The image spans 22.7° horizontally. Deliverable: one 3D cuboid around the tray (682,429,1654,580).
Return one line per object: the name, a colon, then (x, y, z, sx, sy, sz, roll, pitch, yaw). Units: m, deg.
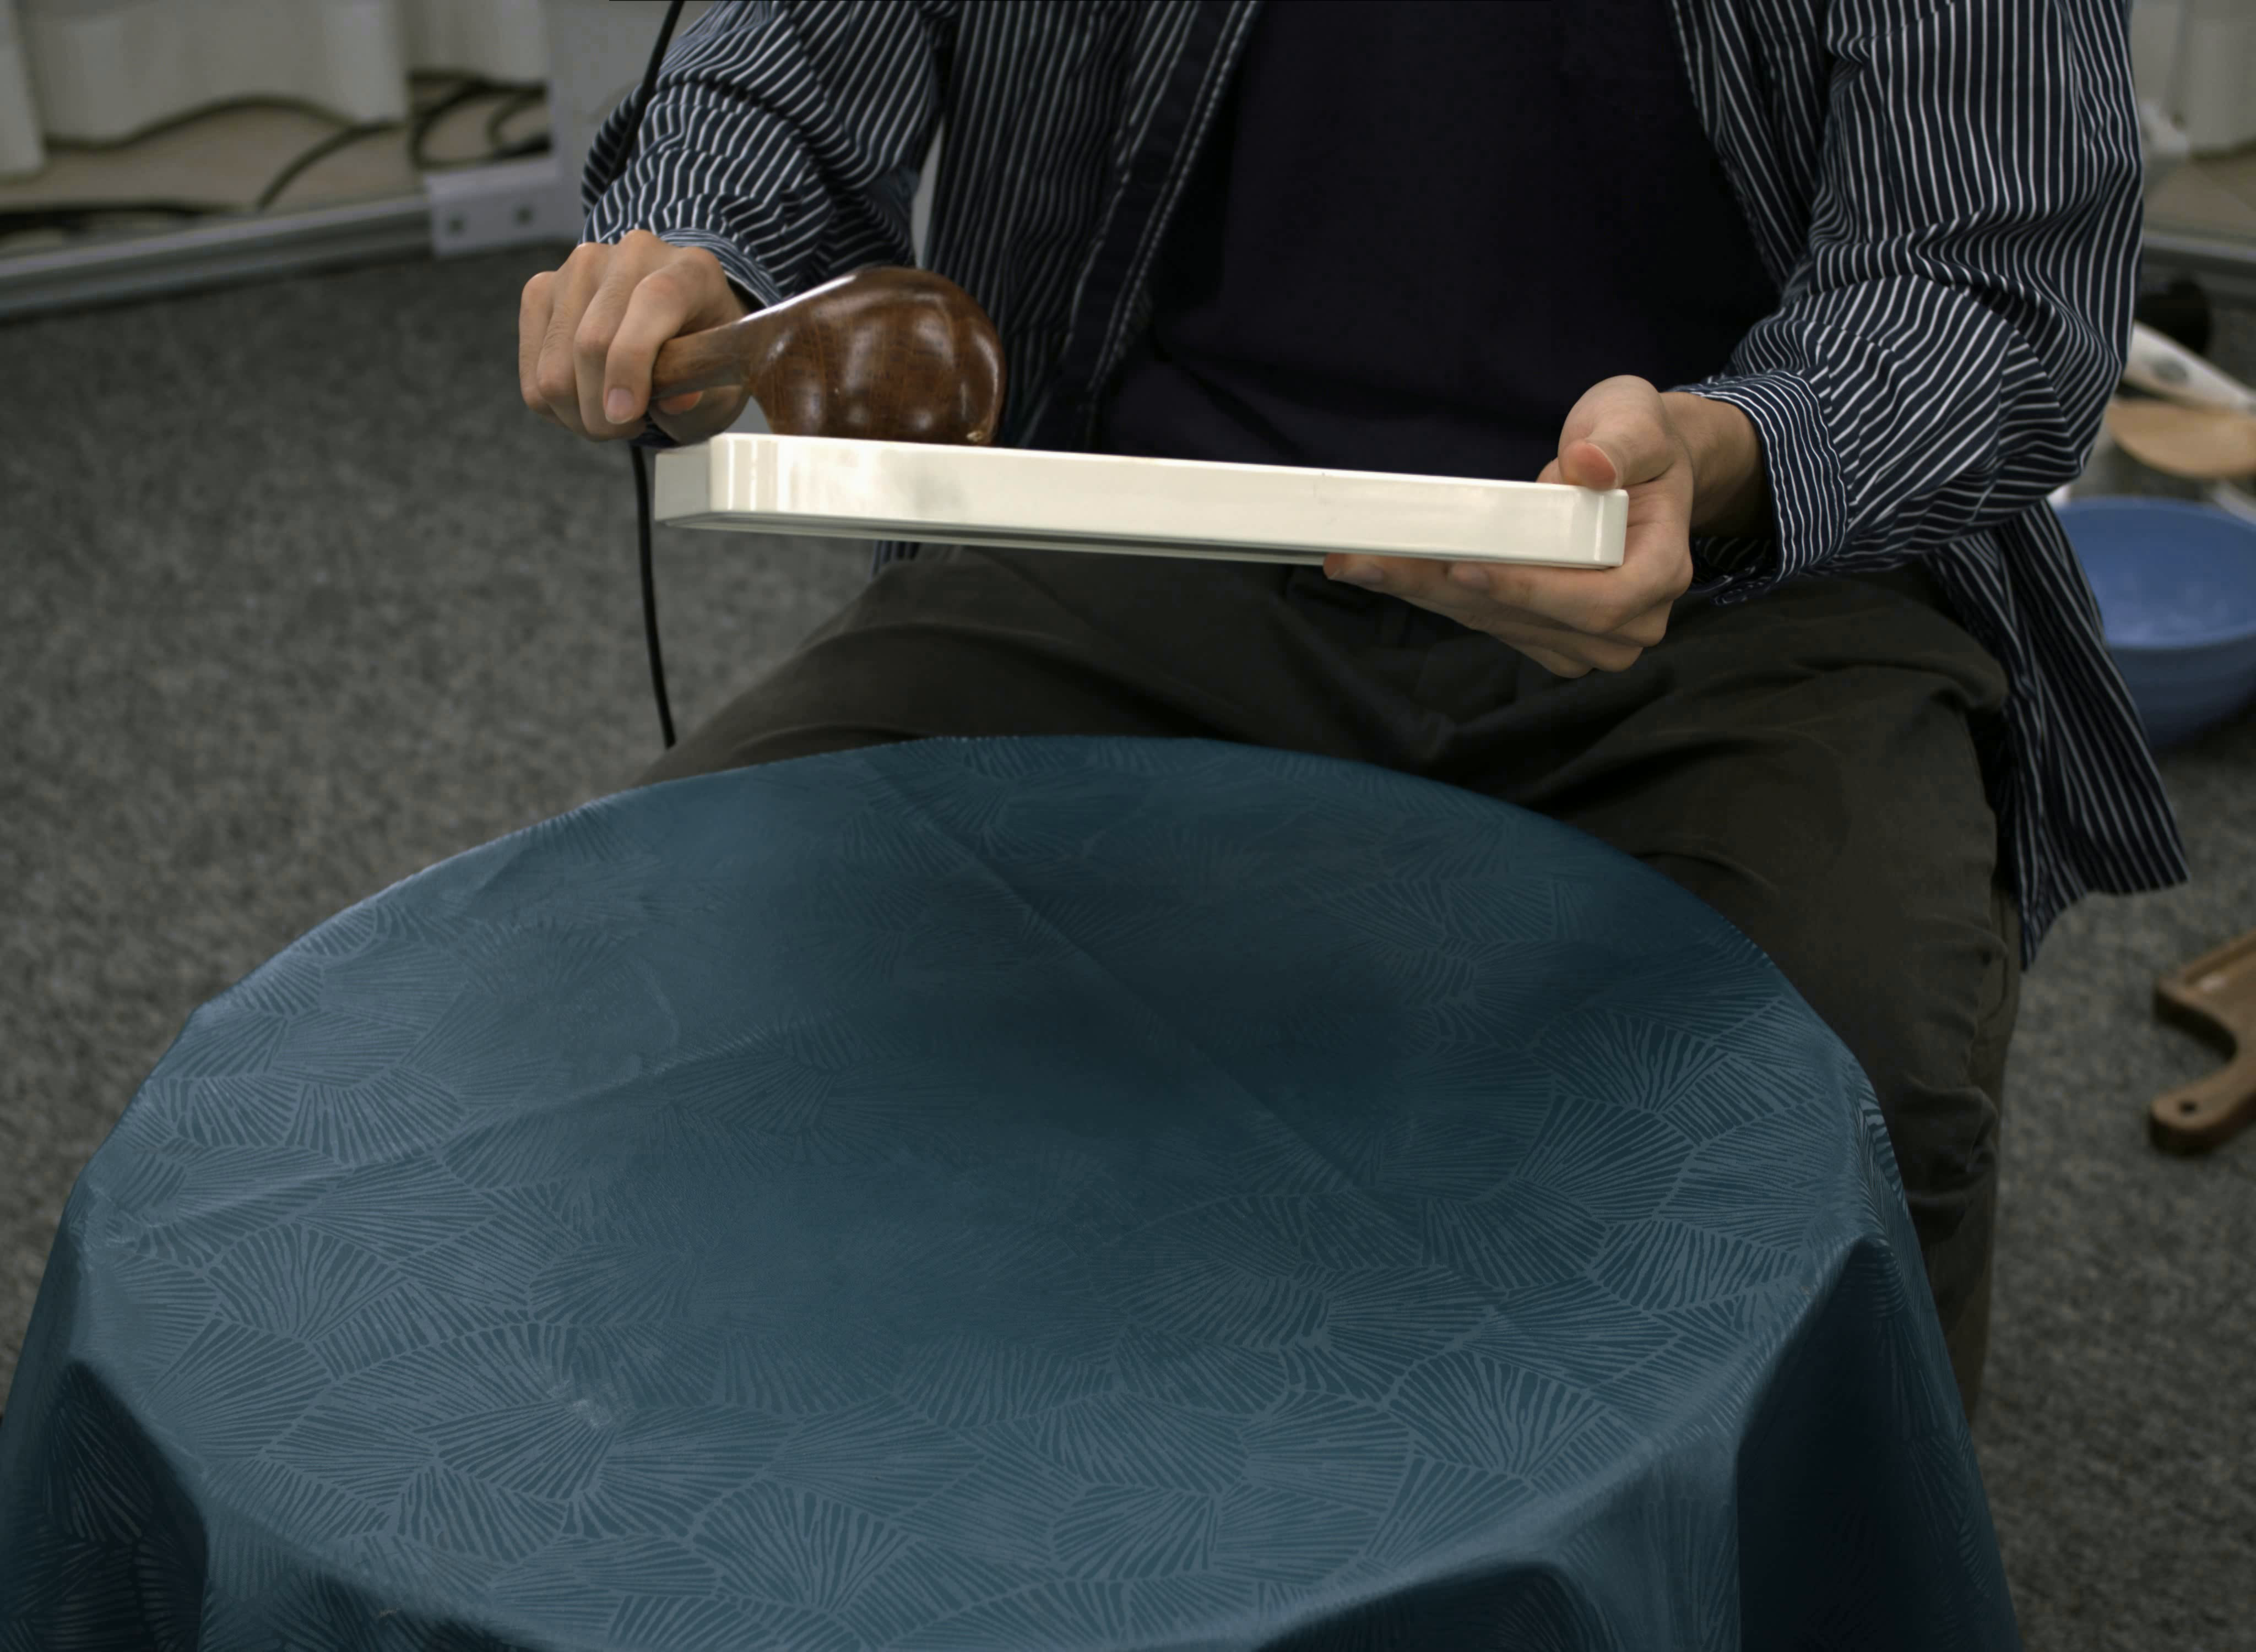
tray: (0.009, -0.105, 1.870, 0.299, 0.027, 0.191, 3, 1, -11)

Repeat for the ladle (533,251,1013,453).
ladle: (-0.122, -0.149, 1.908, 0.076, 0.083, 0.272, 33, -13, -21)
